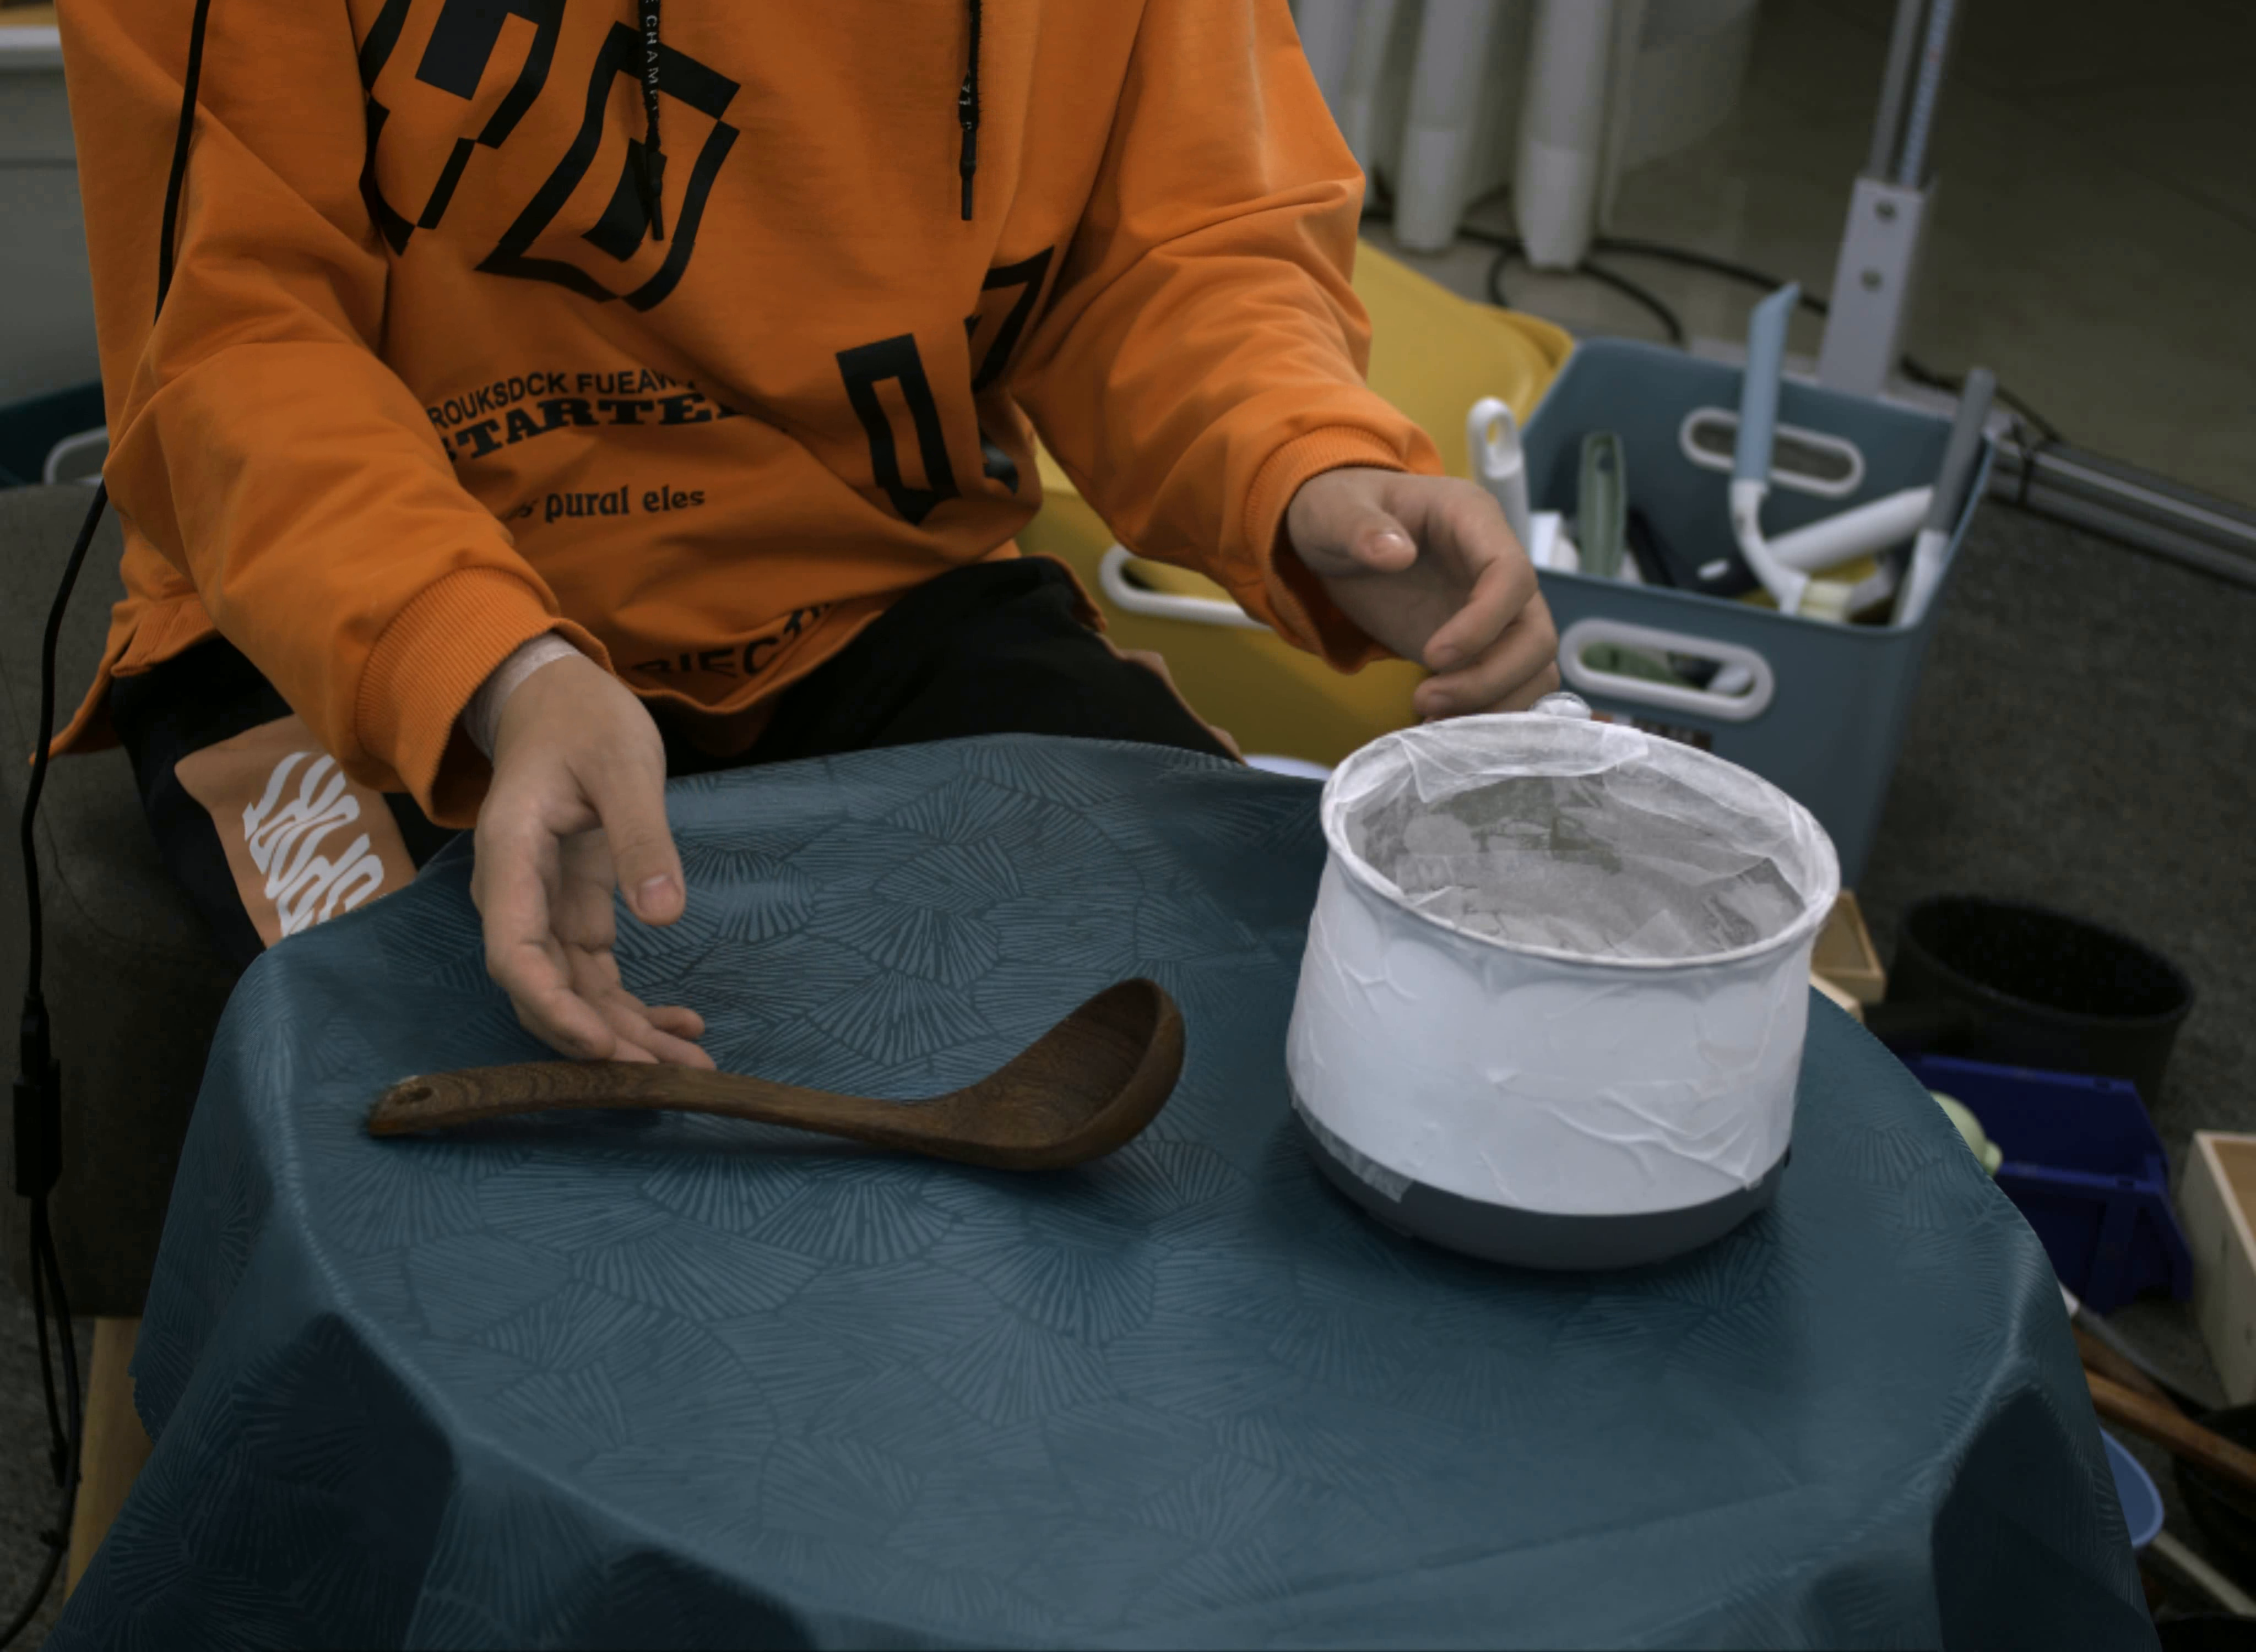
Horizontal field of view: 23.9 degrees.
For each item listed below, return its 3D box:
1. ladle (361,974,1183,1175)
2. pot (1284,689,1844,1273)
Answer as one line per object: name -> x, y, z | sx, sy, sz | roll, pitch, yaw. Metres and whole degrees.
ladle -> -0.119, 0.077, 1.790 | 0.273, 0.071, 0.076 | 4, 24, -7
pot -> 0.144, 0.046, 1.837 | 0.178, 0.136, 0.235 | 6, 27, -3
